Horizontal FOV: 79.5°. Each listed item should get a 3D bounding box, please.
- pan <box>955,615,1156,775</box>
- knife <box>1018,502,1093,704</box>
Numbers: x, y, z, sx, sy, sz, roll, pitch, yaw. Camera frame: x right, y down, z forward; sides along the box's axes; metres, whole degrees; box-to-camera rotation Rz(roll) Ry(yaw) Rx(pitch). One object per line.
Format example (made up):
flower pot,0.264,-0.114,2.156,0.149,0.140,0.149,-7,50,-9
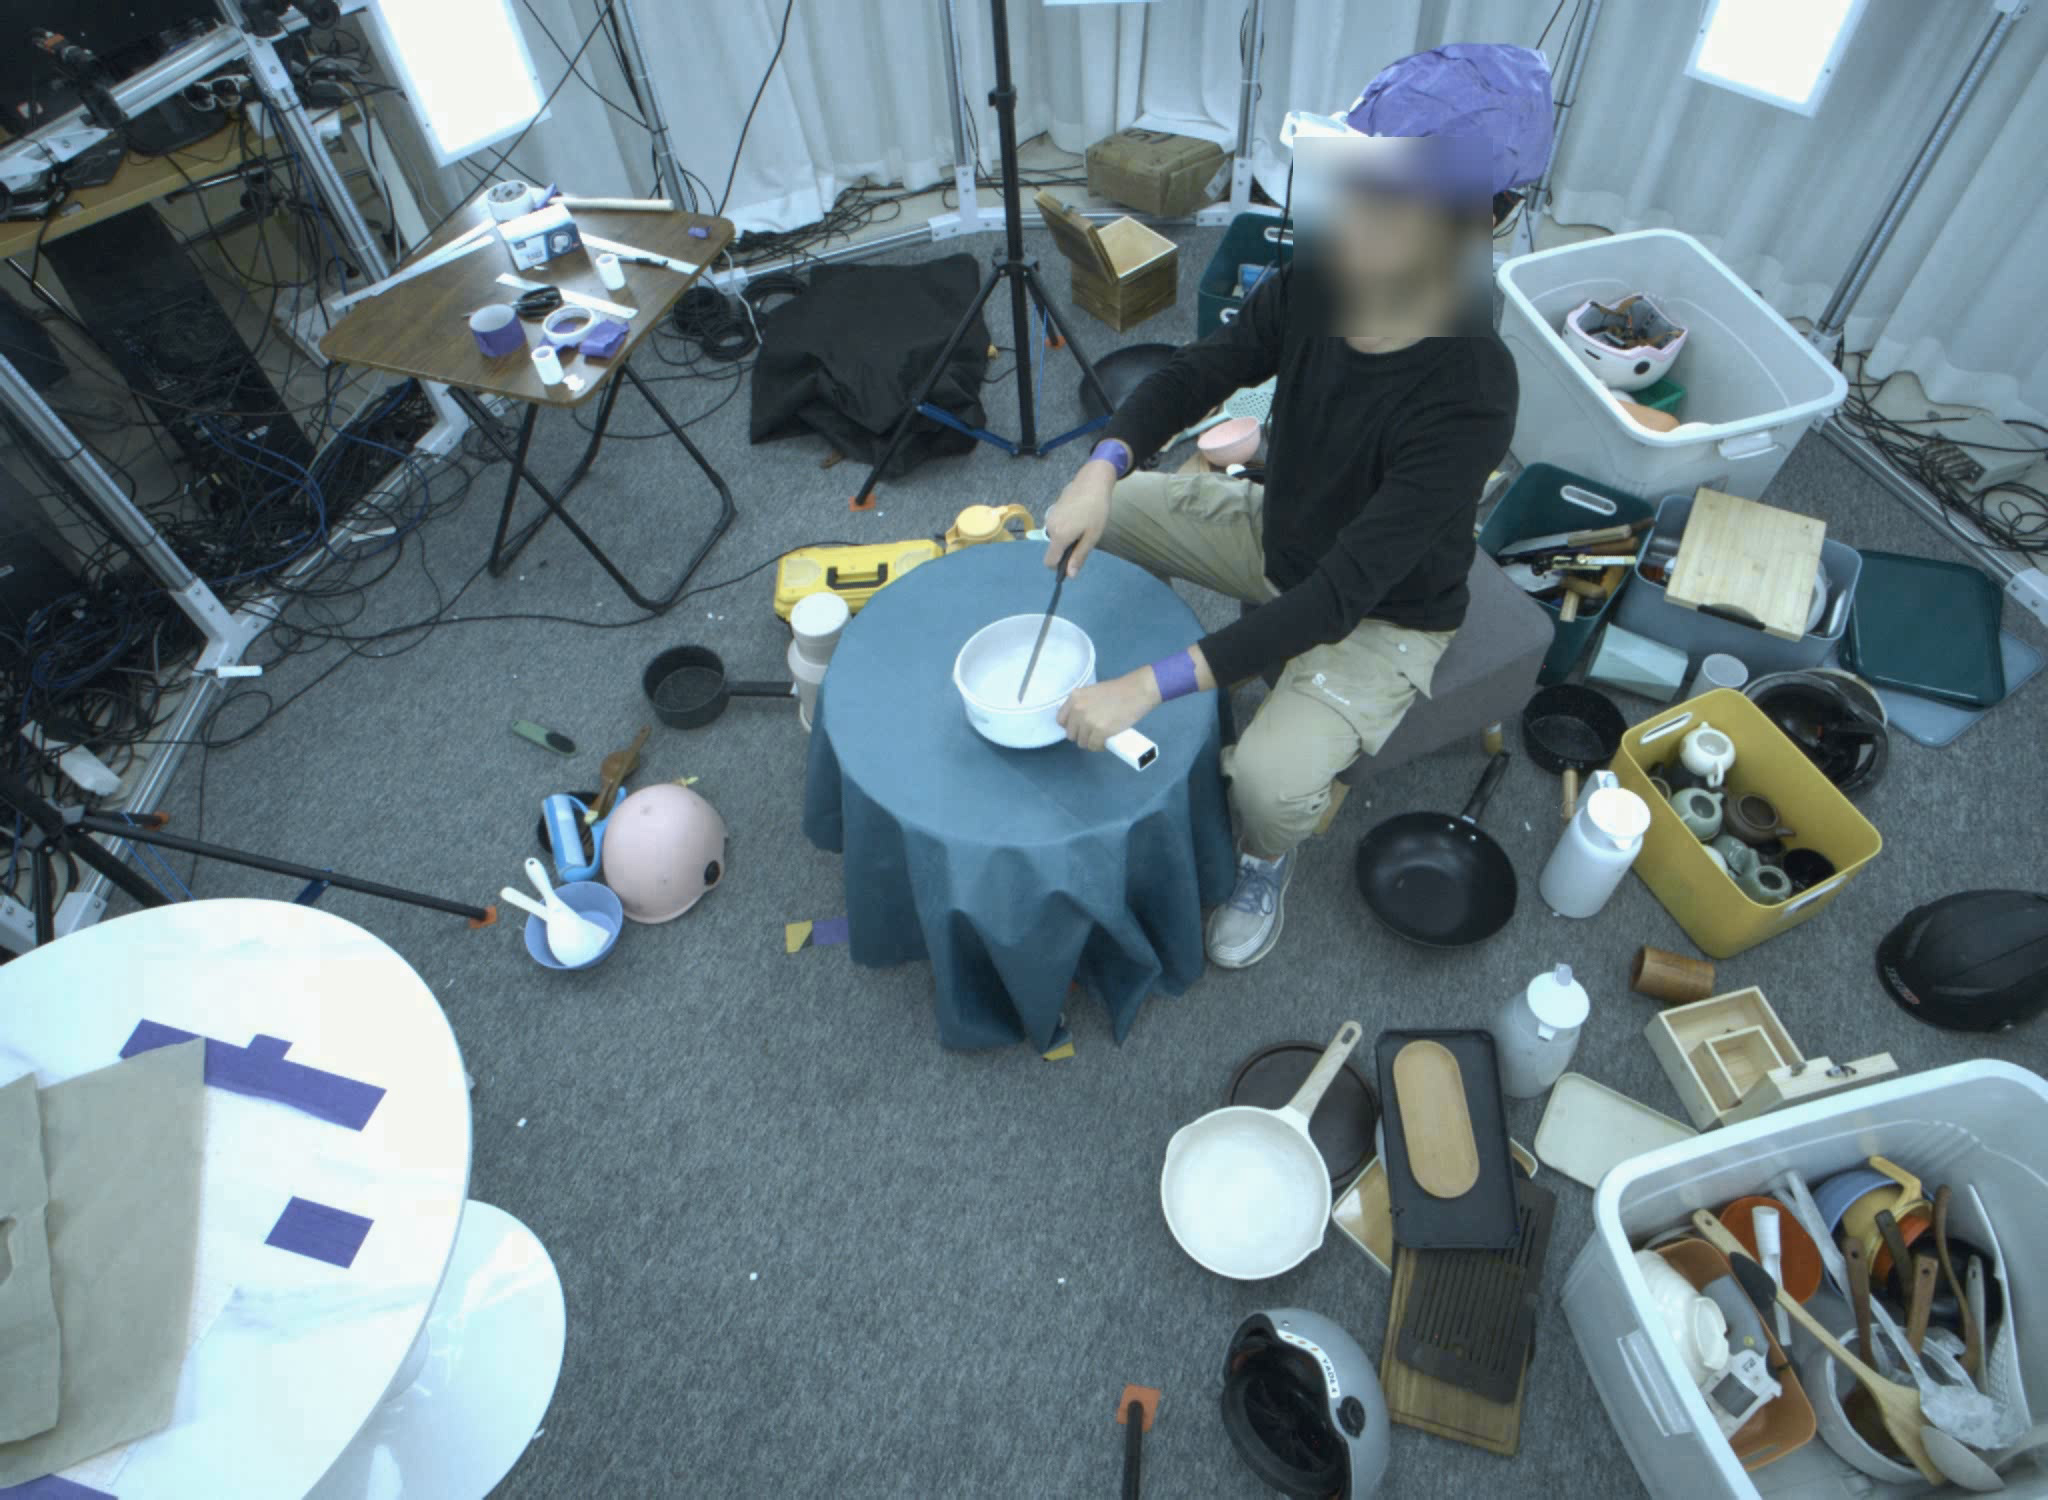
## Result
pan,0.054,-0.054,1.738,0.203,0.103,0.347,-35,53,-22
knife,0.041,-0.208,1.711,0.021,0.081,0.302,18,84,6
